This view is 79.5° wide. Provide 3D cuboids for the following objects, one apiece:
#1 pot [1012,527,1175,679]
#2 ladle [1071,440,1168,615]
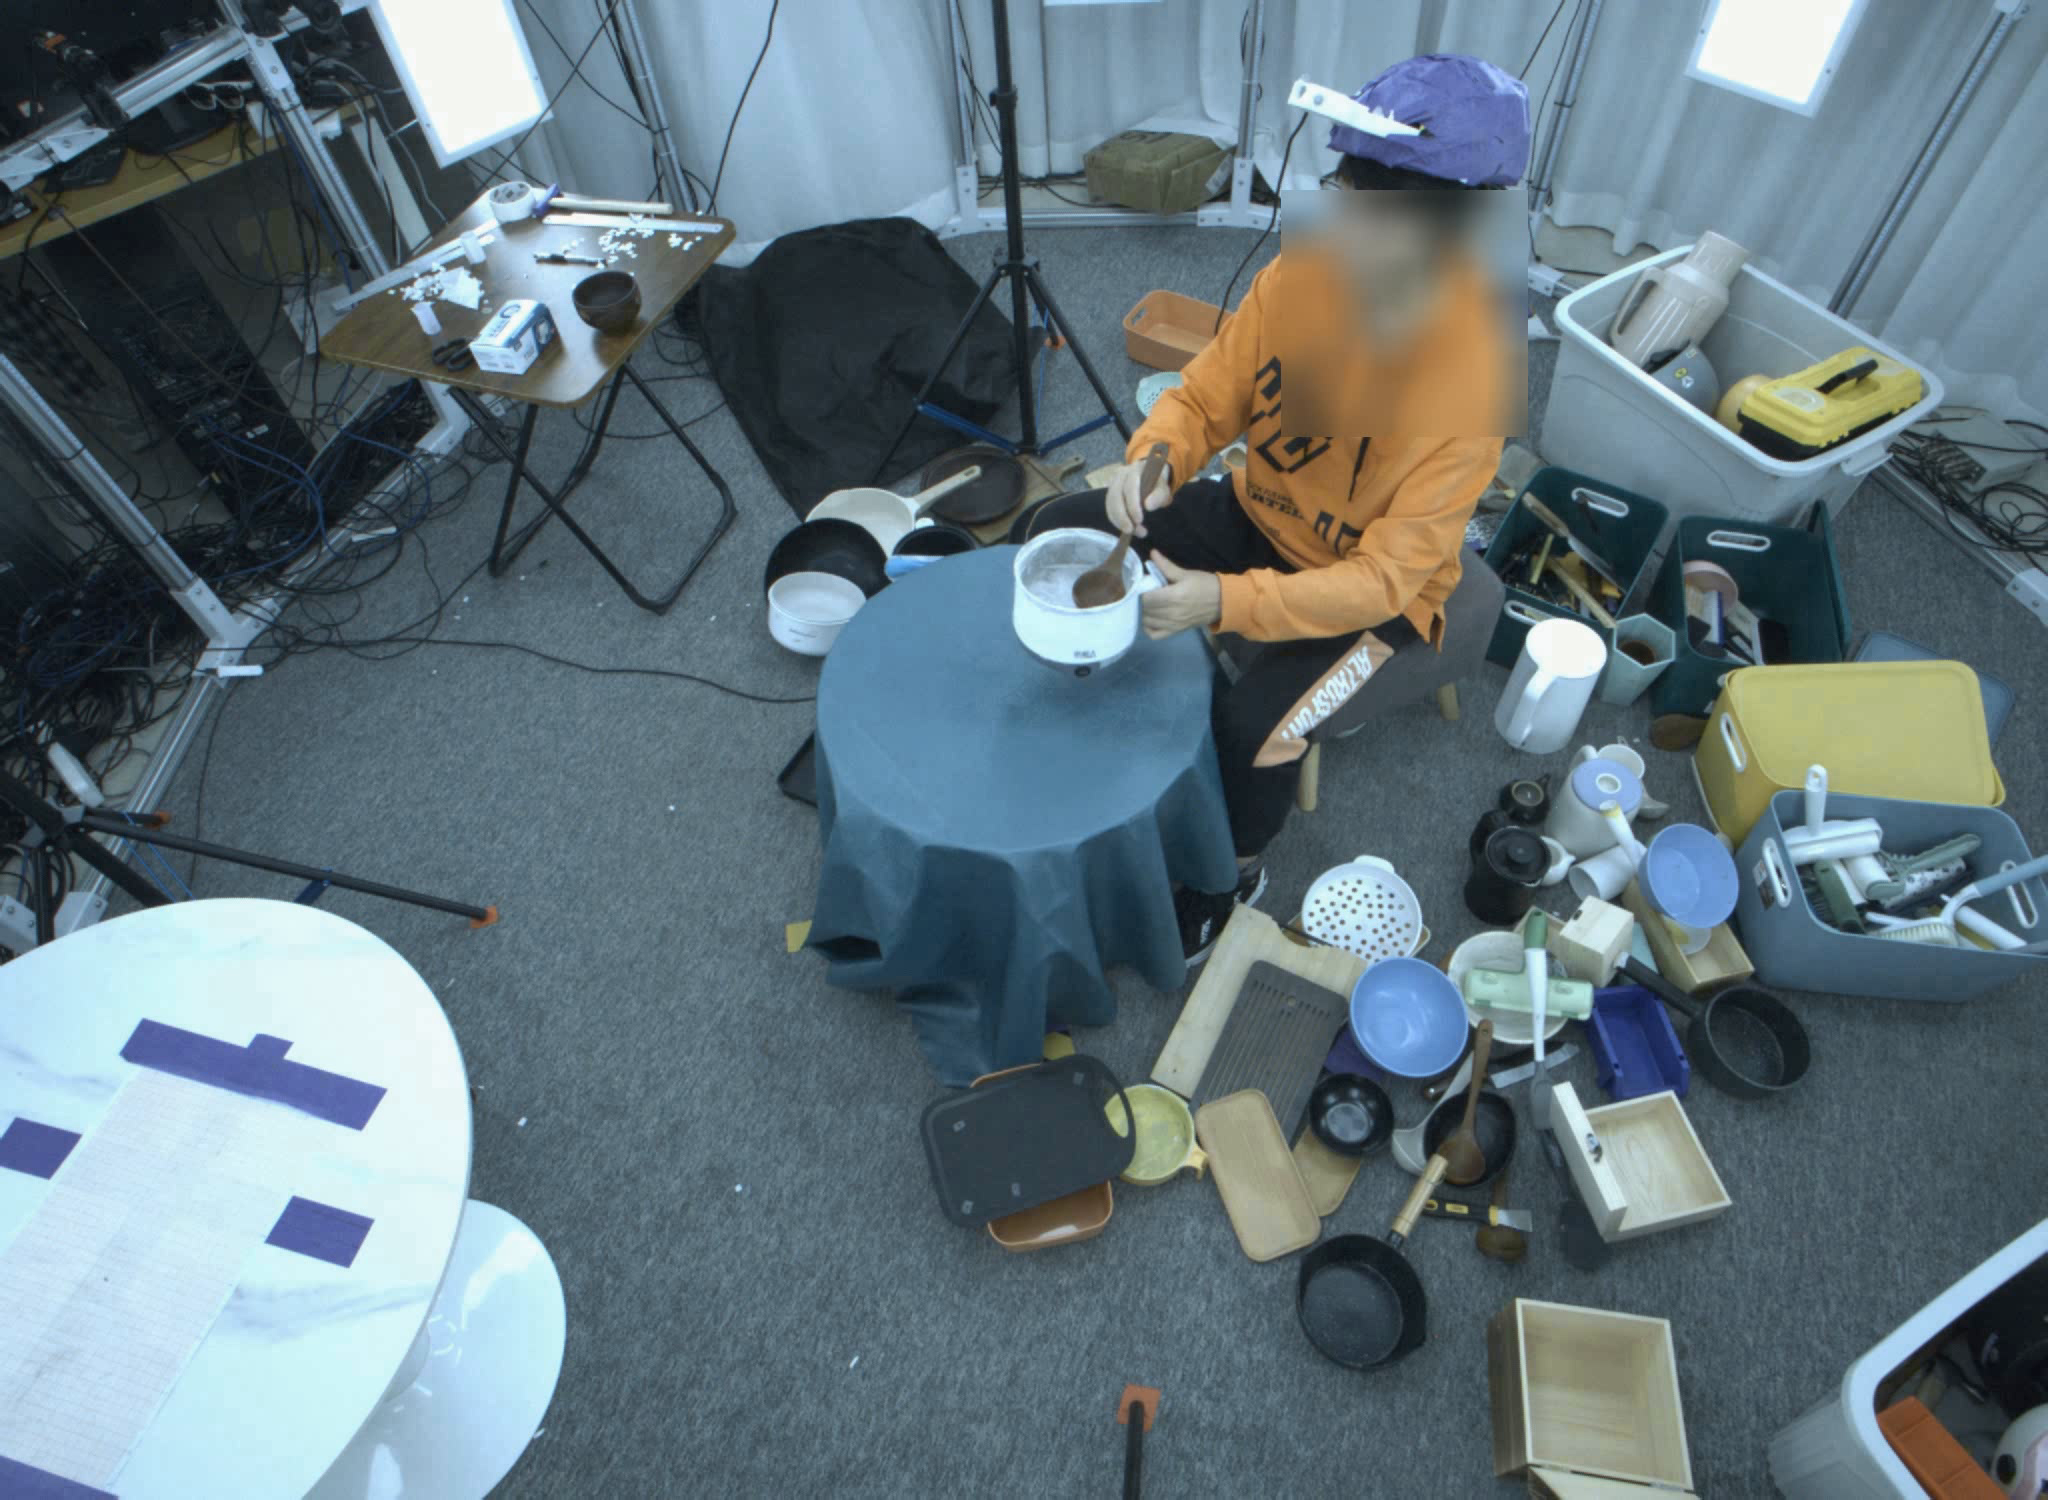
[{"bbox_3d":[0.099,-0.210,1.731,0.235,0.138,0.176,-6,51,-7],"label":"pot"},{"bbox_3d":[0.138,-0.302,1.662,0.077,0.065,0.260,23,101,-3],"label":"ladle"}]
